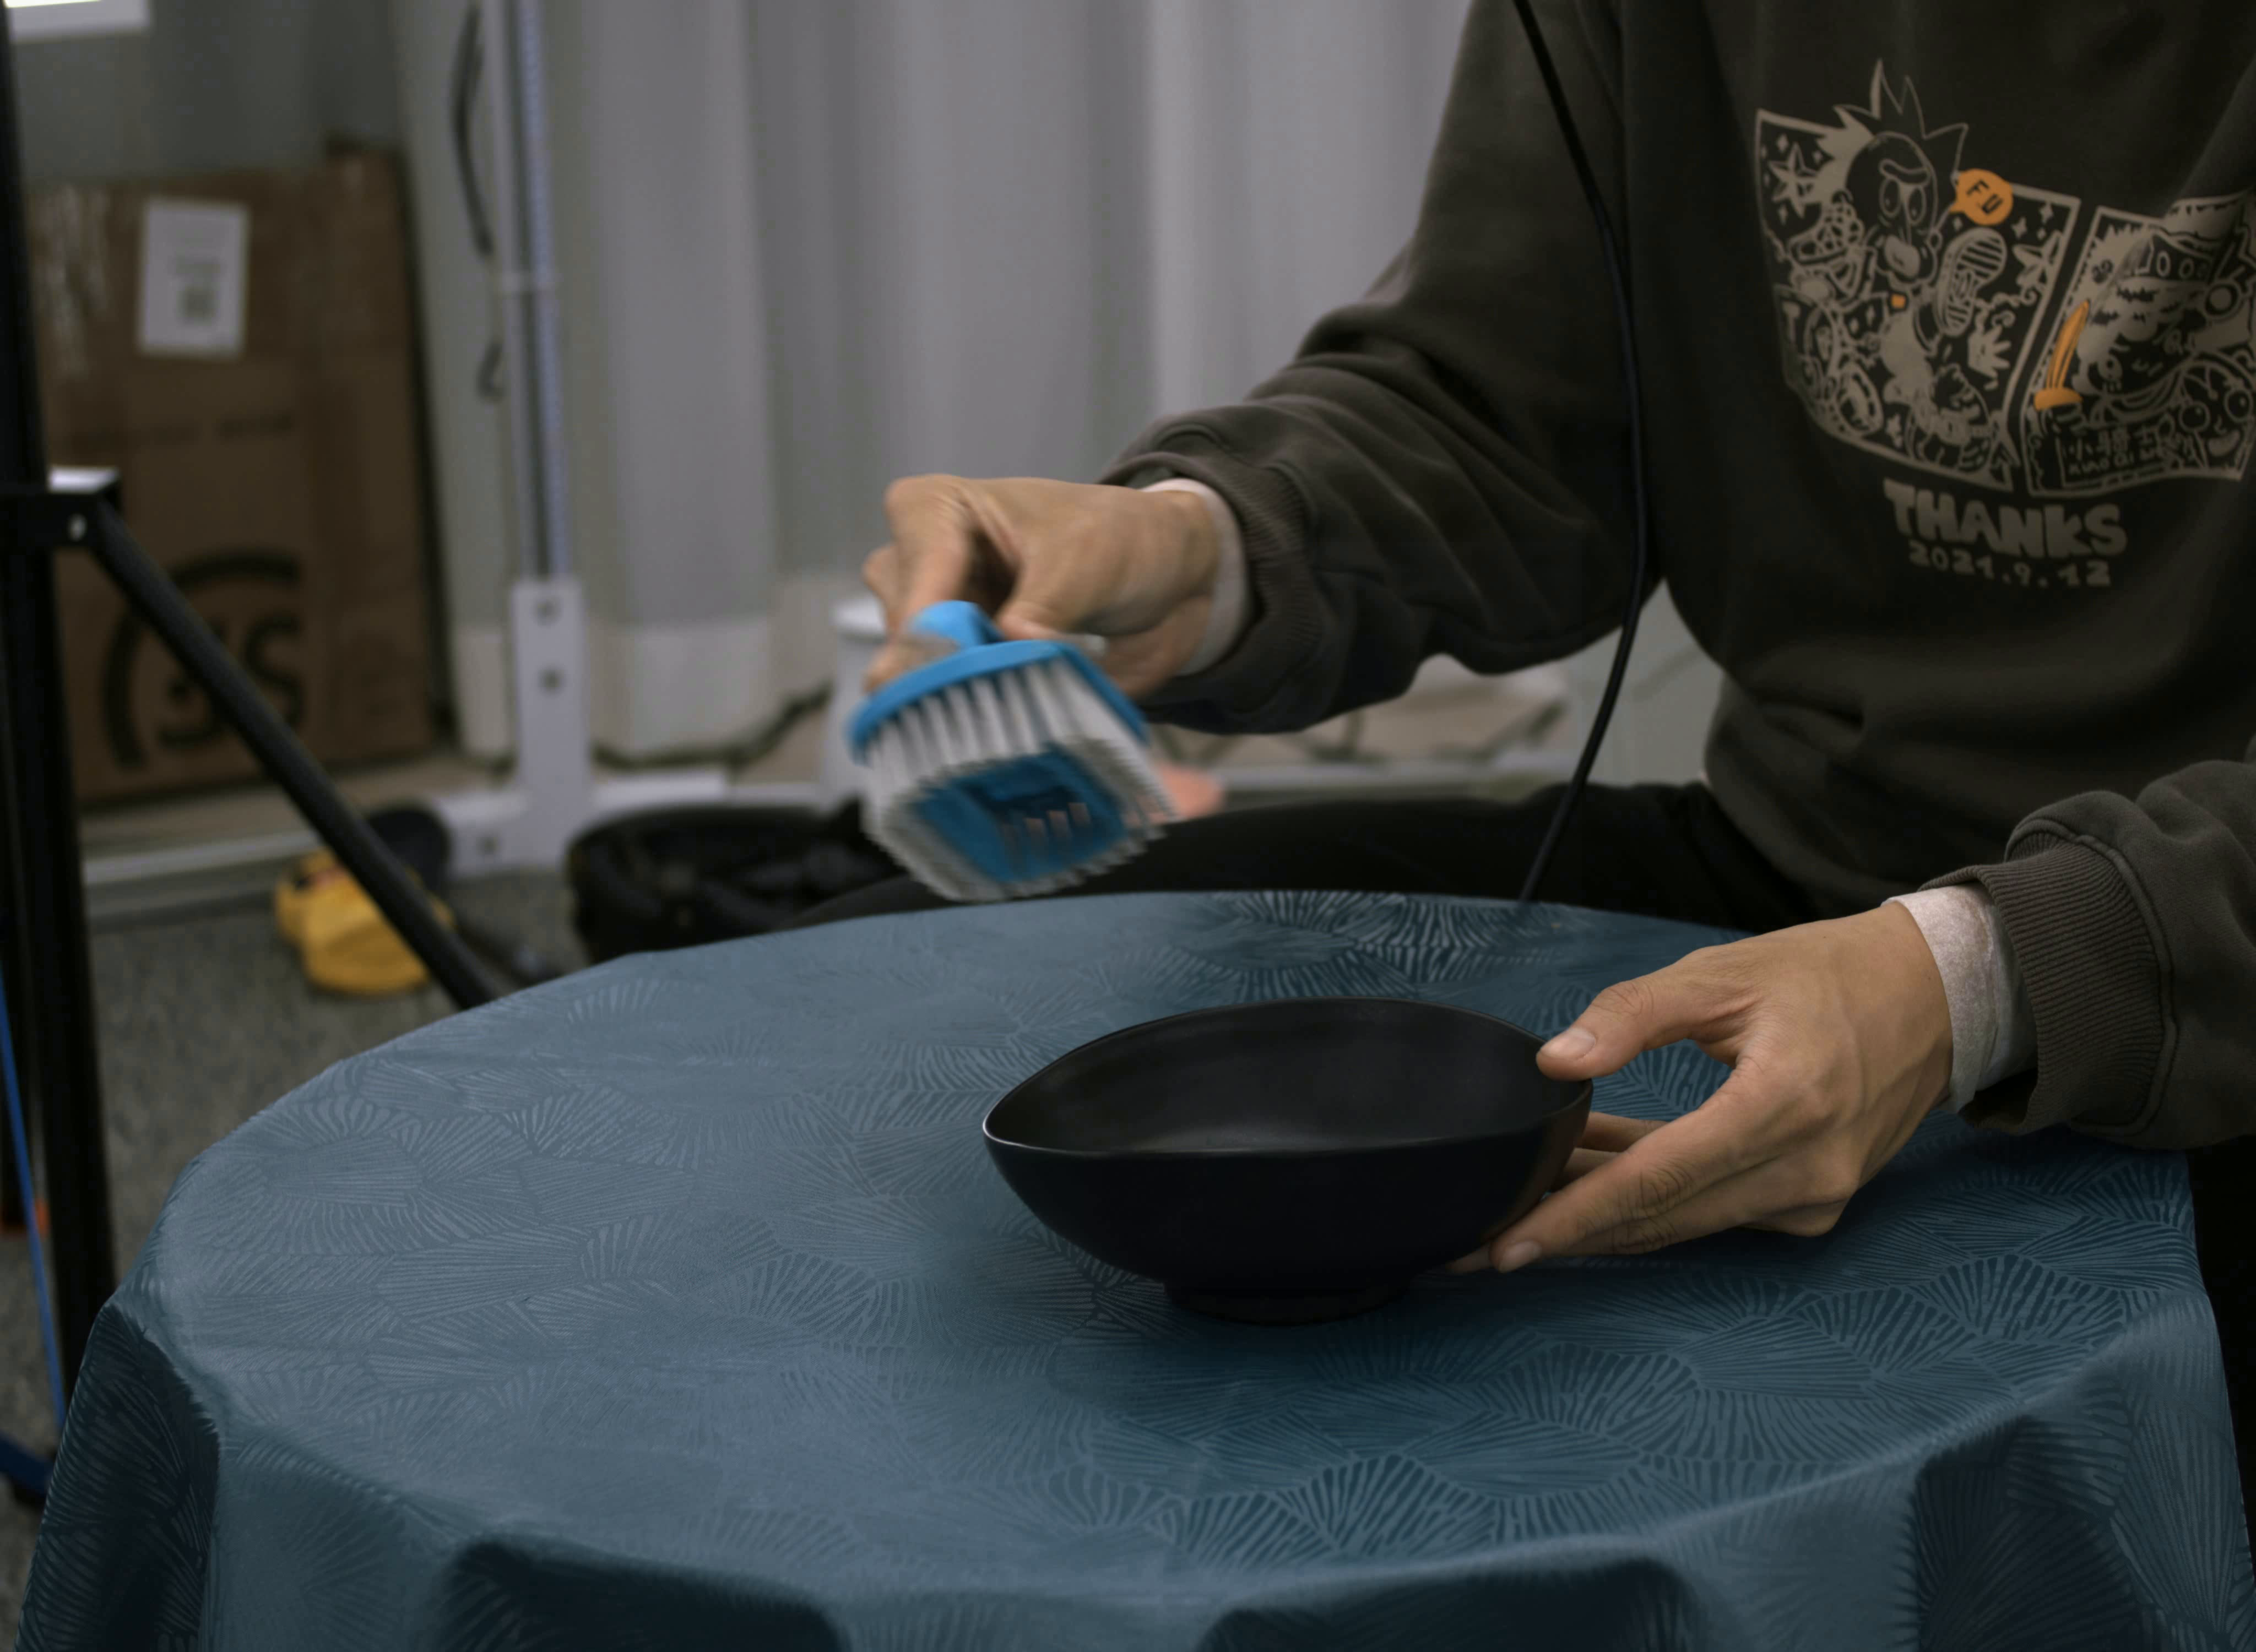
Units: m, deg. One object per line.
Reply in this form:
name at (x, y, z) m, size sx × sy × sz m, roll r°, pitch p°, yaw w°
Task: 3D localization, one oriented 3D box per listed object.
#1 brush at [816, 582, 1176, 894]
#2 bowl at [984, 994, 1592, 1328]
brush at (-0.043, -0.032, 1.547) m, size 0.084 × 0.064 × 0.139 m, roll -24°, pitch -21°, yaw 11°
bowl at (0.045, 0.098, 1.473) m, size 0.170 × 0.067 × 0.137 m, roll -3°, pitch 15°, yaw 5°
